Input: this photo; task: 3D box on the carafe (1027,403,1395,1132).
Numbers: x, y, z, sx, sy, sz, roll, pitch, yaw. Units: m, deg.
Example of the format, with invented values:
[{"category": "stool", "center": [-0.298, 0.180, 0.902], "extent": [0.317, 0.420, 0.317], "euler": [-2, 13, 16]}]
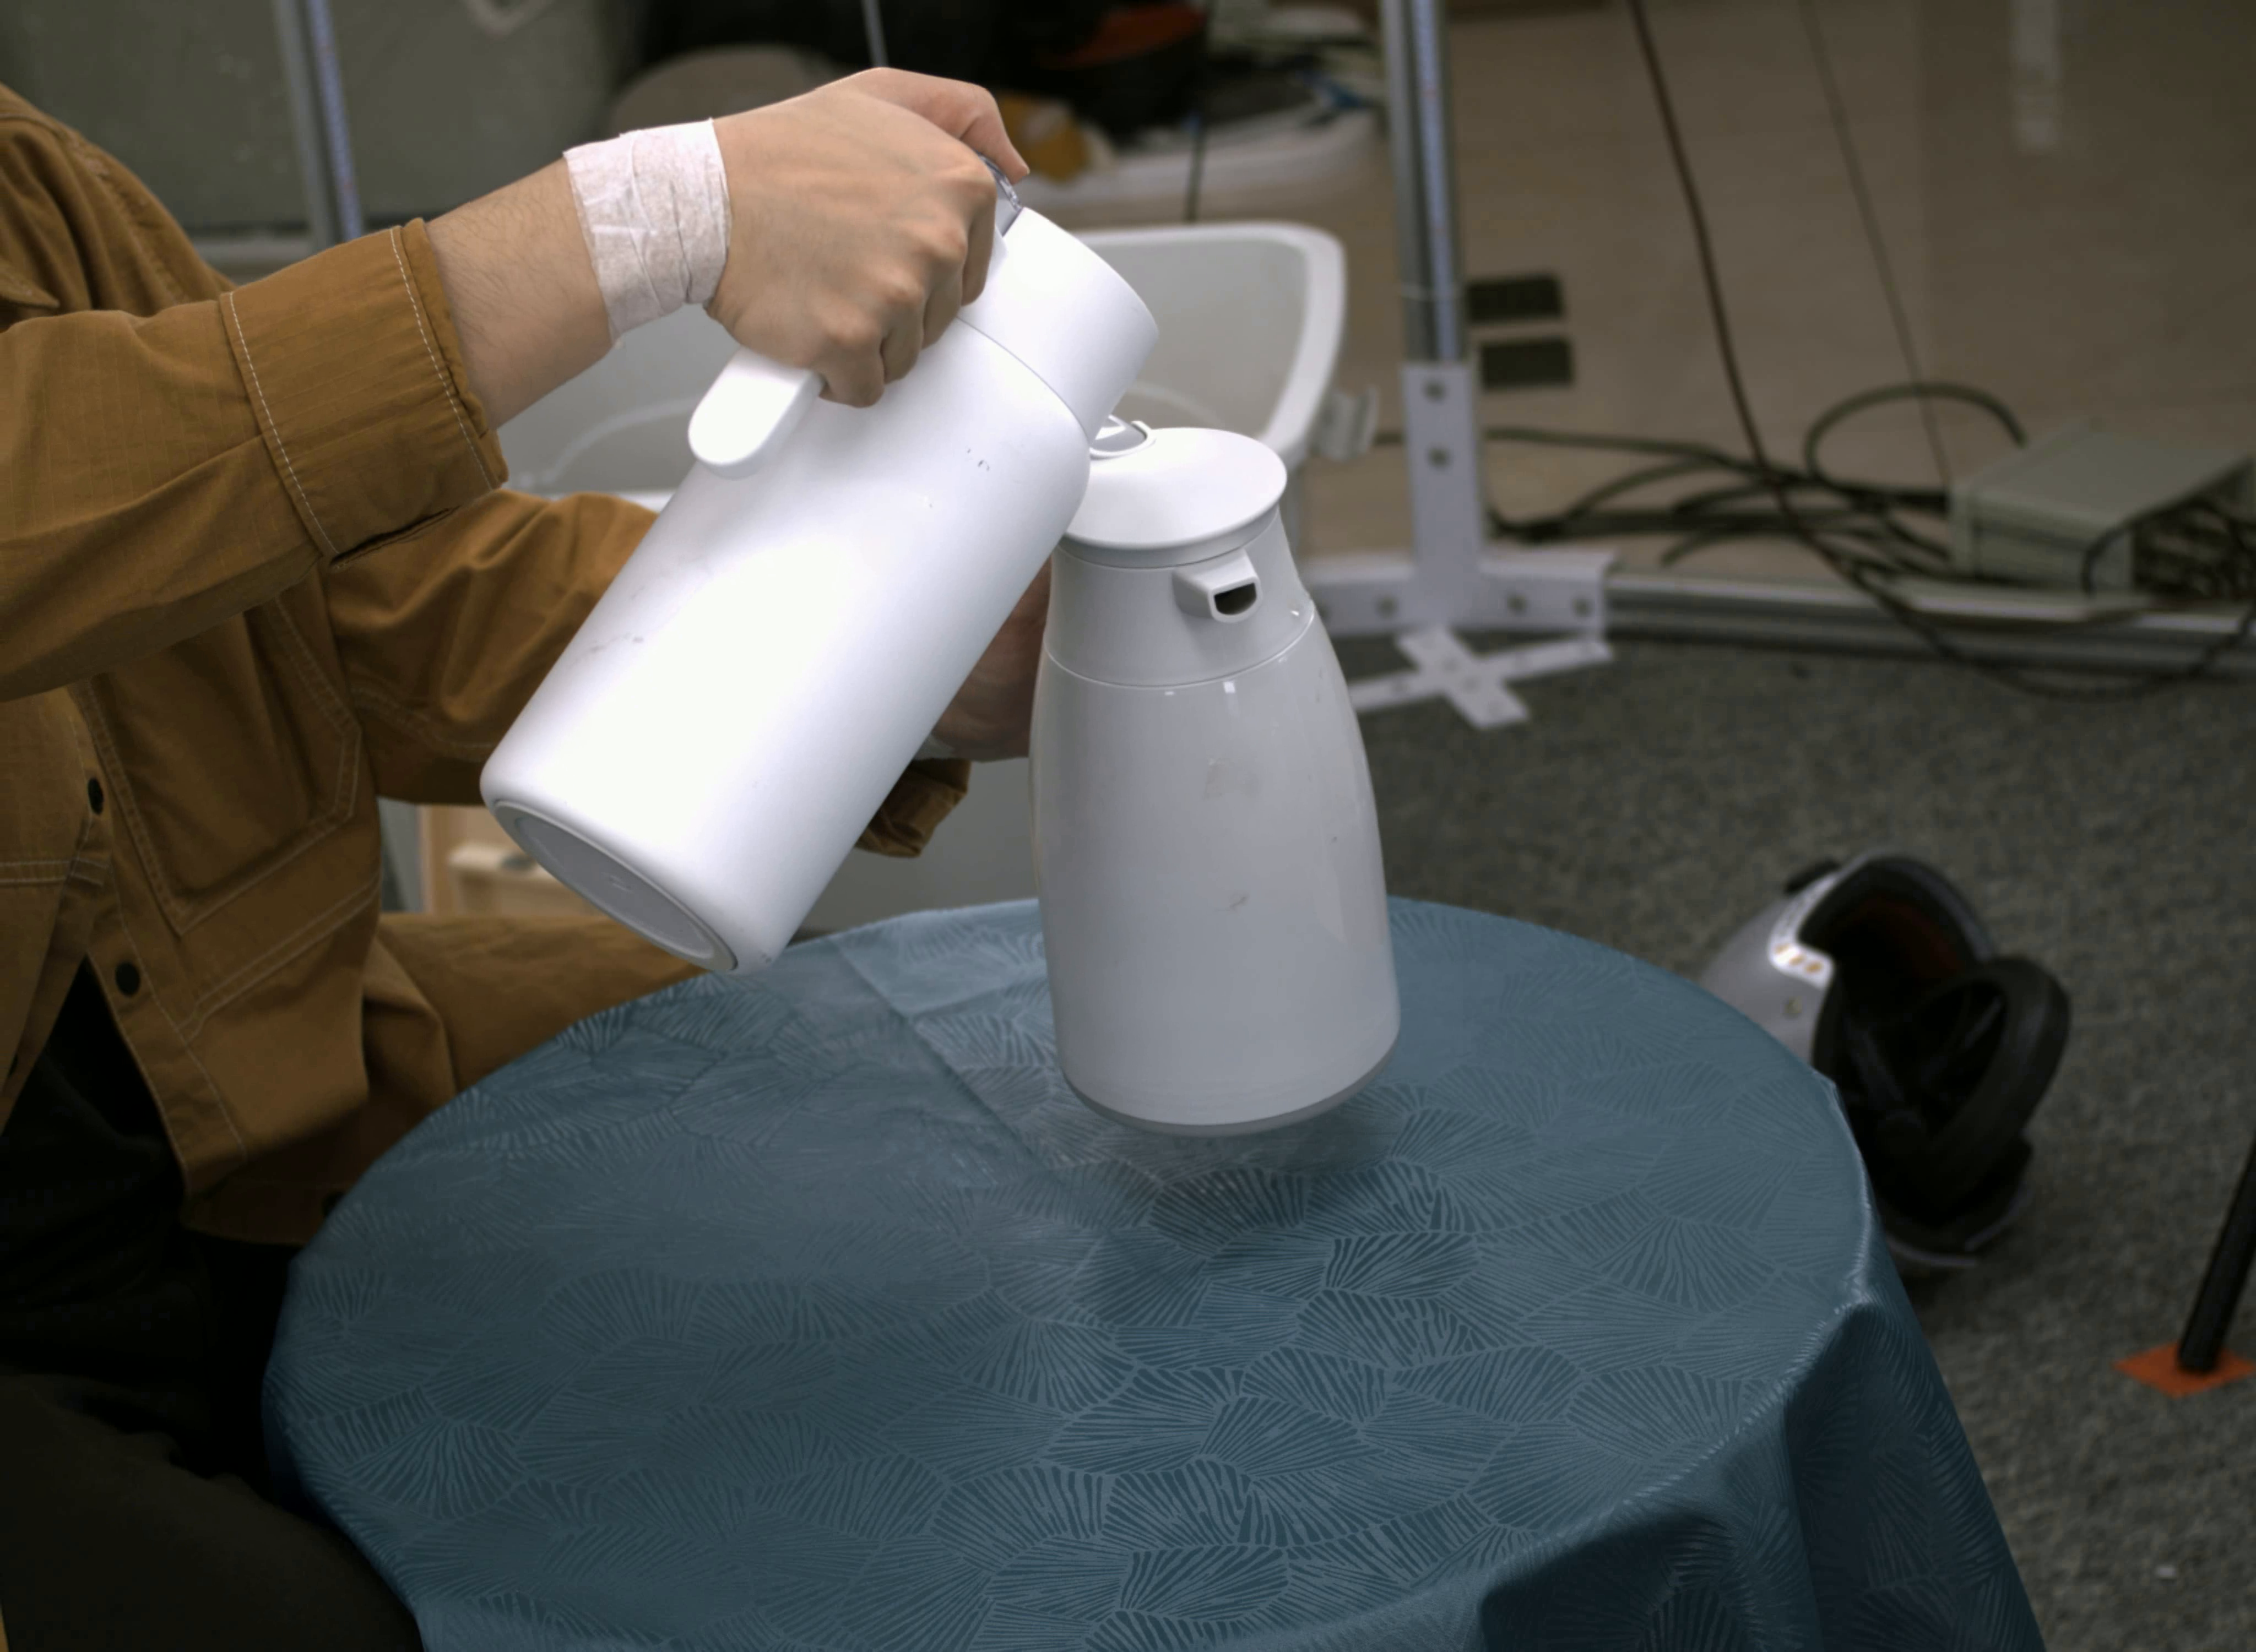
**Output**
[{"category": "carafe", "center": [0.016, -0.033, 2.111], "extent": [0.132, 0.253, 0.165], "euler": [-18, 33, -17]}]

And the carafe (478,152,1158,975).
[{"category": "carafe", "center": [-0.105, -0.094, 1.901], "extent": [0.123, 0.175, 0.267], "euler": [30, 77, 27]}]
